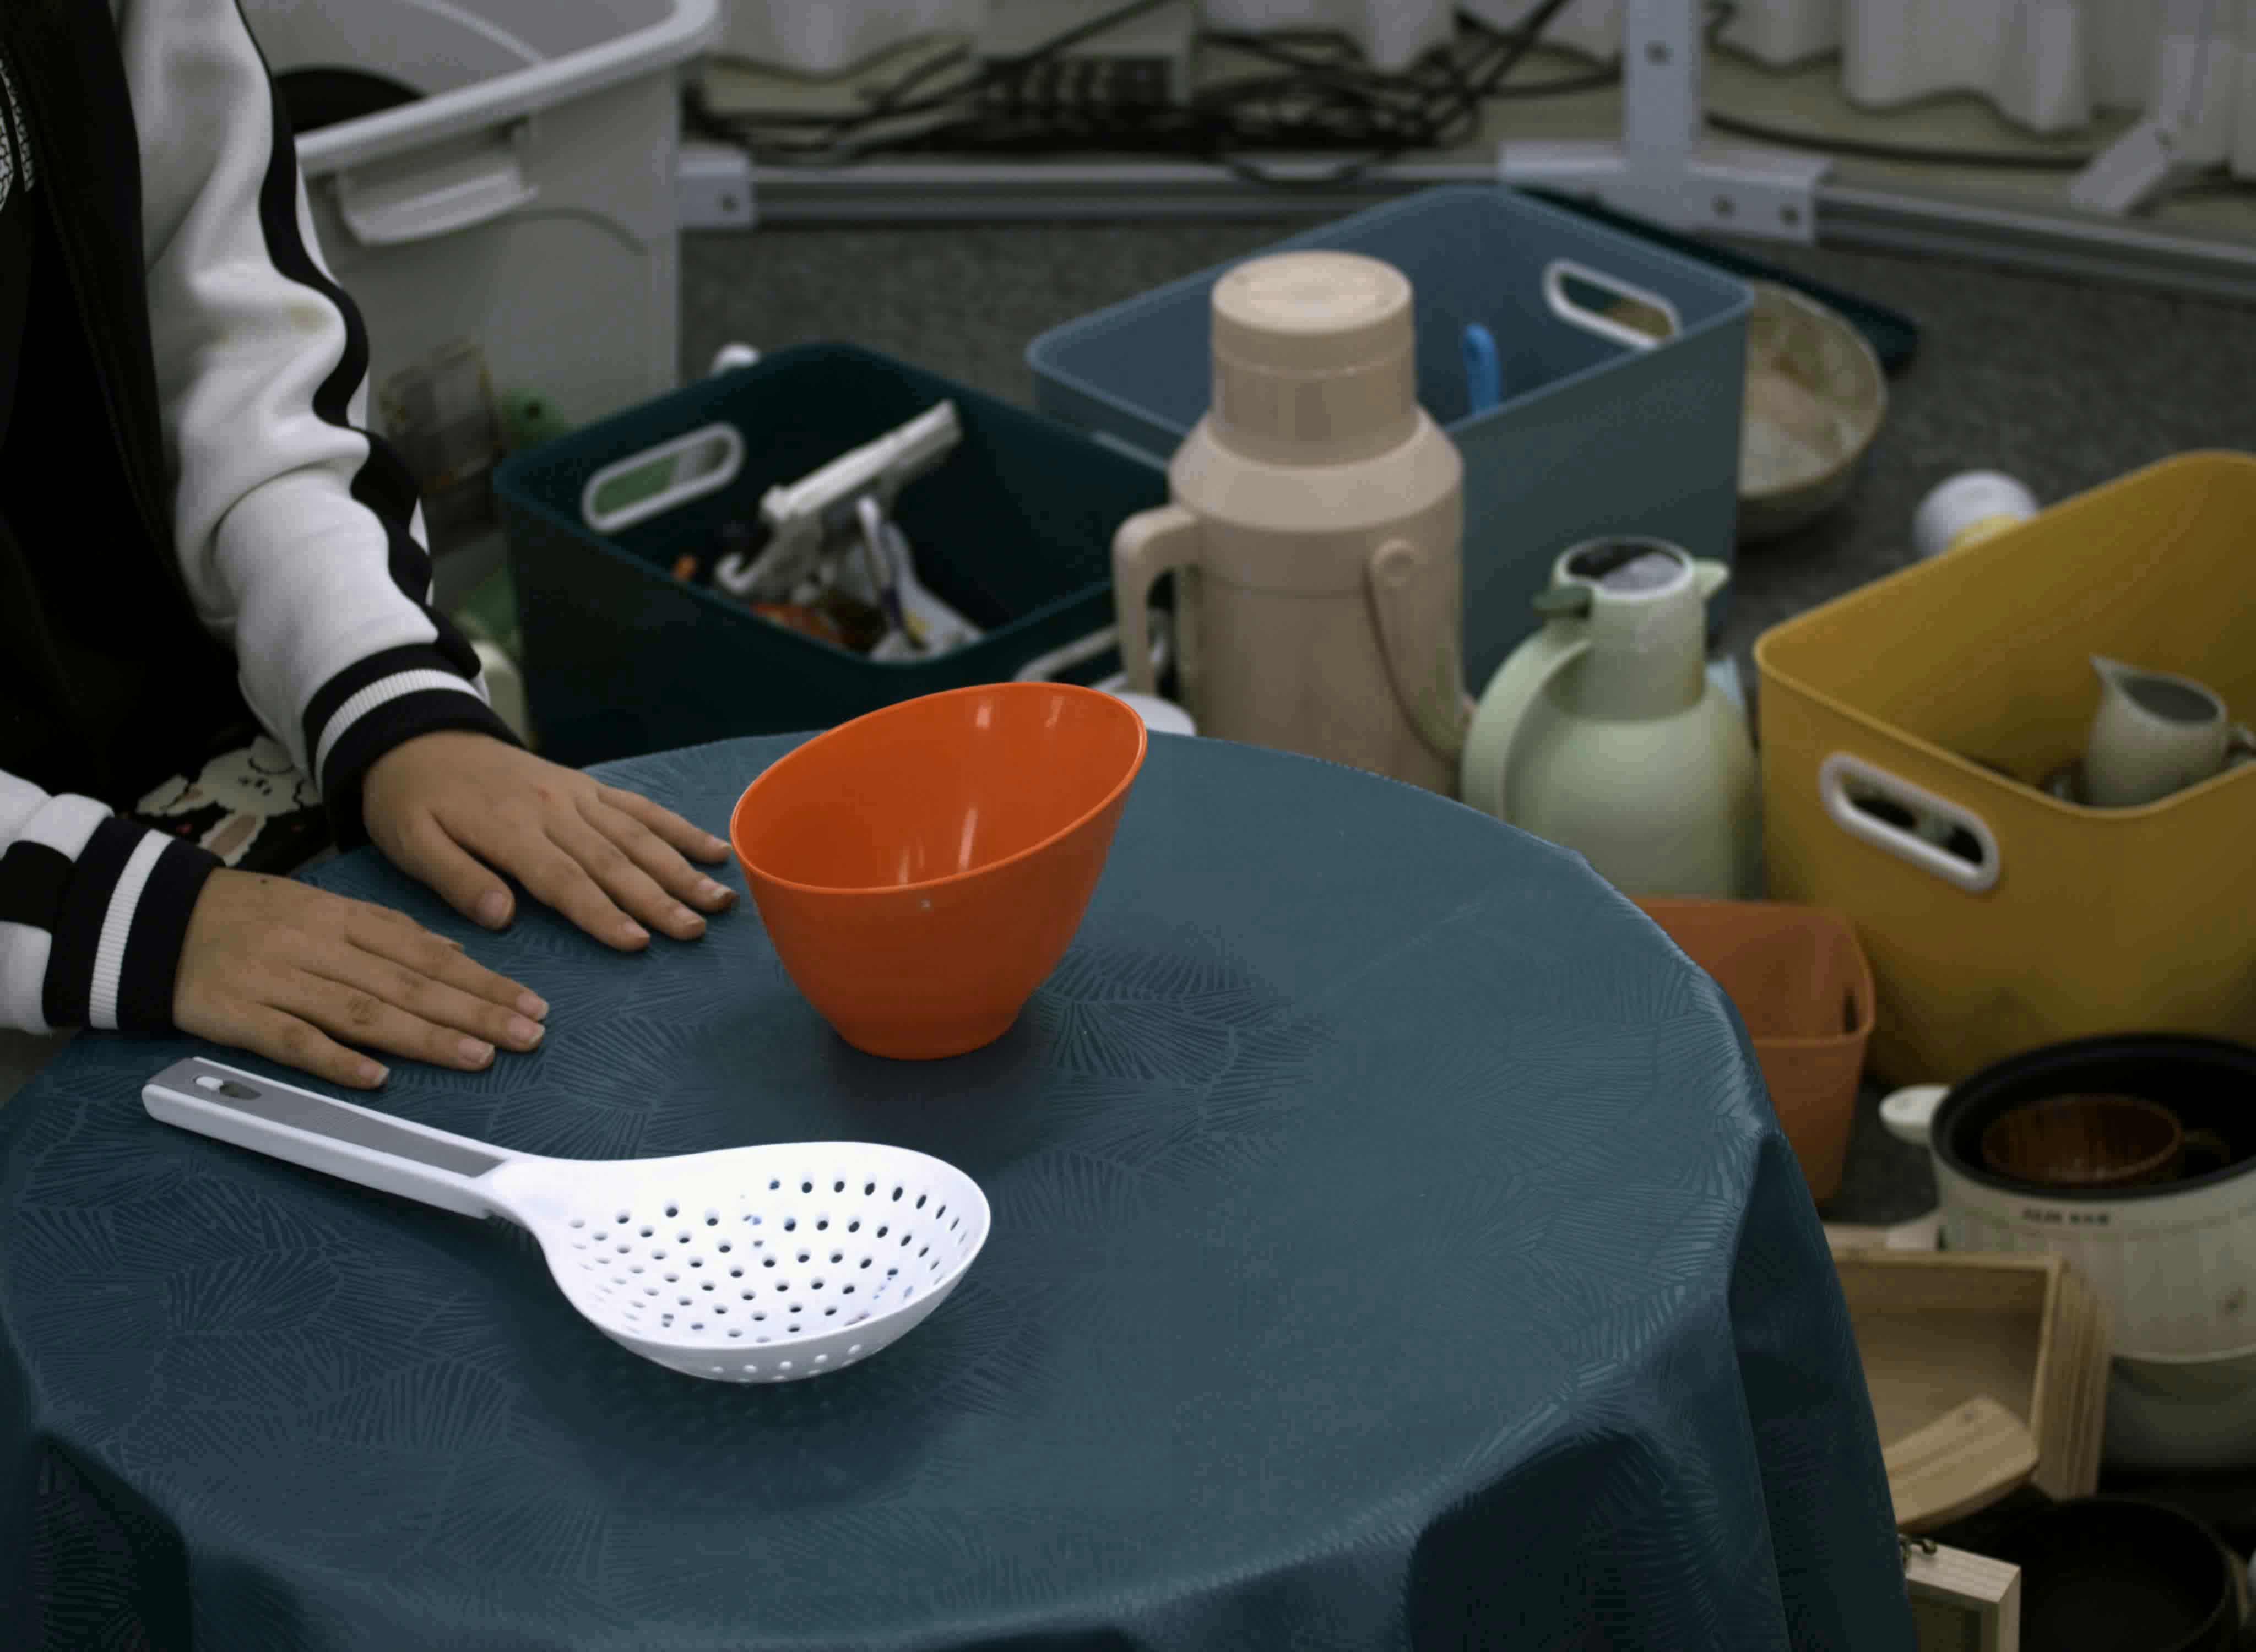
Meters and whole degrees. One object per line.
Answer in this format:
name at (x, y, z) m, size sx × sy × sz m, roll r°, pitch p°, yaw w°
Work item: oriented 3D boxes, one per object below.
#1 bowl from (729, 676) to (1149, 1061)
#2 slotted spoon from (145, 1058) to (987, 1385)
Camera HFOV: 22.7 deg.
bowl at (-0.063, 0.021, 1.950) m, size 0.147 × 0.103 × 0.150 m, roll -3°, pitch 30°, yaw 2°
slotted spoon at (-0.195, 0.121, 1.834) m, size 0.348 × 0.045 × 0.138 m, roll 17°, pitch 31°, yaw 34°
